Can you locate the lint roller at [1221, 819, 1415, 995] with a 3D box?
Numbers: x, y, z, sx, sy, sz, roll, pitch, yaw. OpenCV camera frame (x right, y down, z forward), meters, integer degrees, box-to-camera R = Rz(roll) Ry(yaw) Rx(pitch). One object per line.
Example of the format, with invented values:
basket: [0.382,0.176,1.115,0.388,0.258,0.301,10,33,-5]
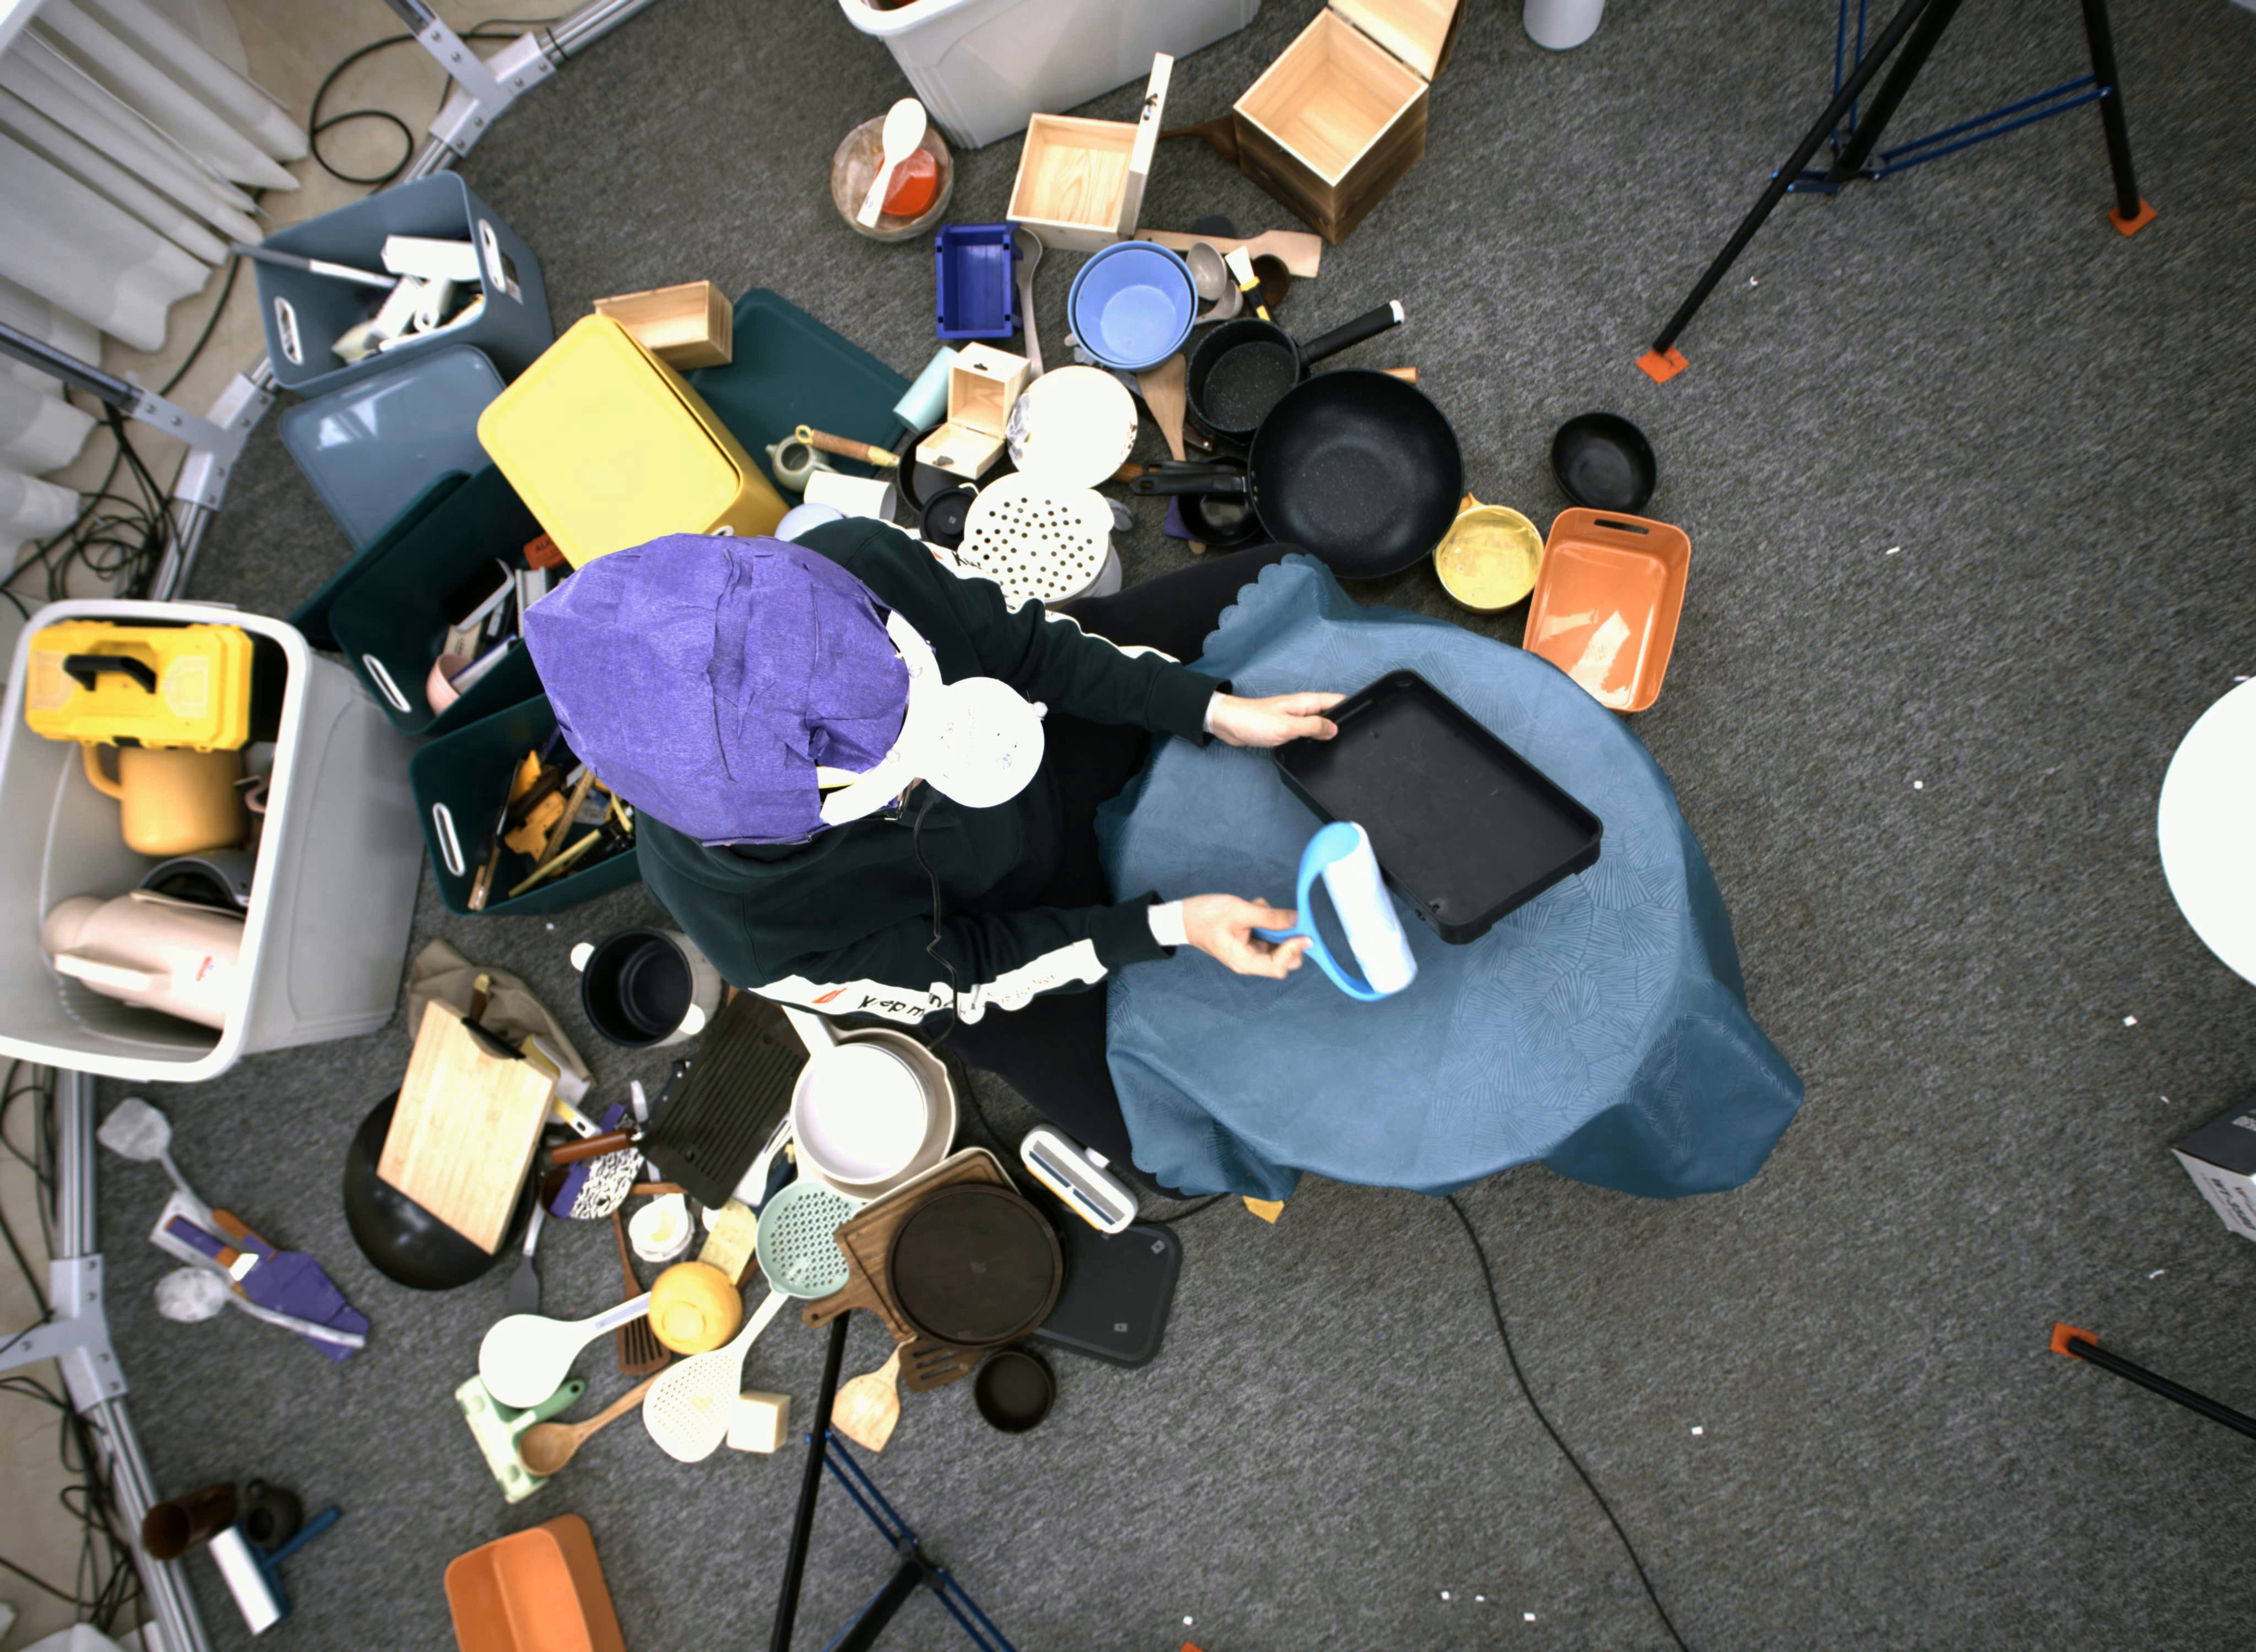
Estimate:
lint roller: [0.174,0.087,1.355,0.182,0.233,0.066,-10,46,25]

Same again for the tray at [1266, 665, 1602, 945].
tray: [0.291,-0.031,1.345,0.183,0.038,0.313,-34,48,-8]
